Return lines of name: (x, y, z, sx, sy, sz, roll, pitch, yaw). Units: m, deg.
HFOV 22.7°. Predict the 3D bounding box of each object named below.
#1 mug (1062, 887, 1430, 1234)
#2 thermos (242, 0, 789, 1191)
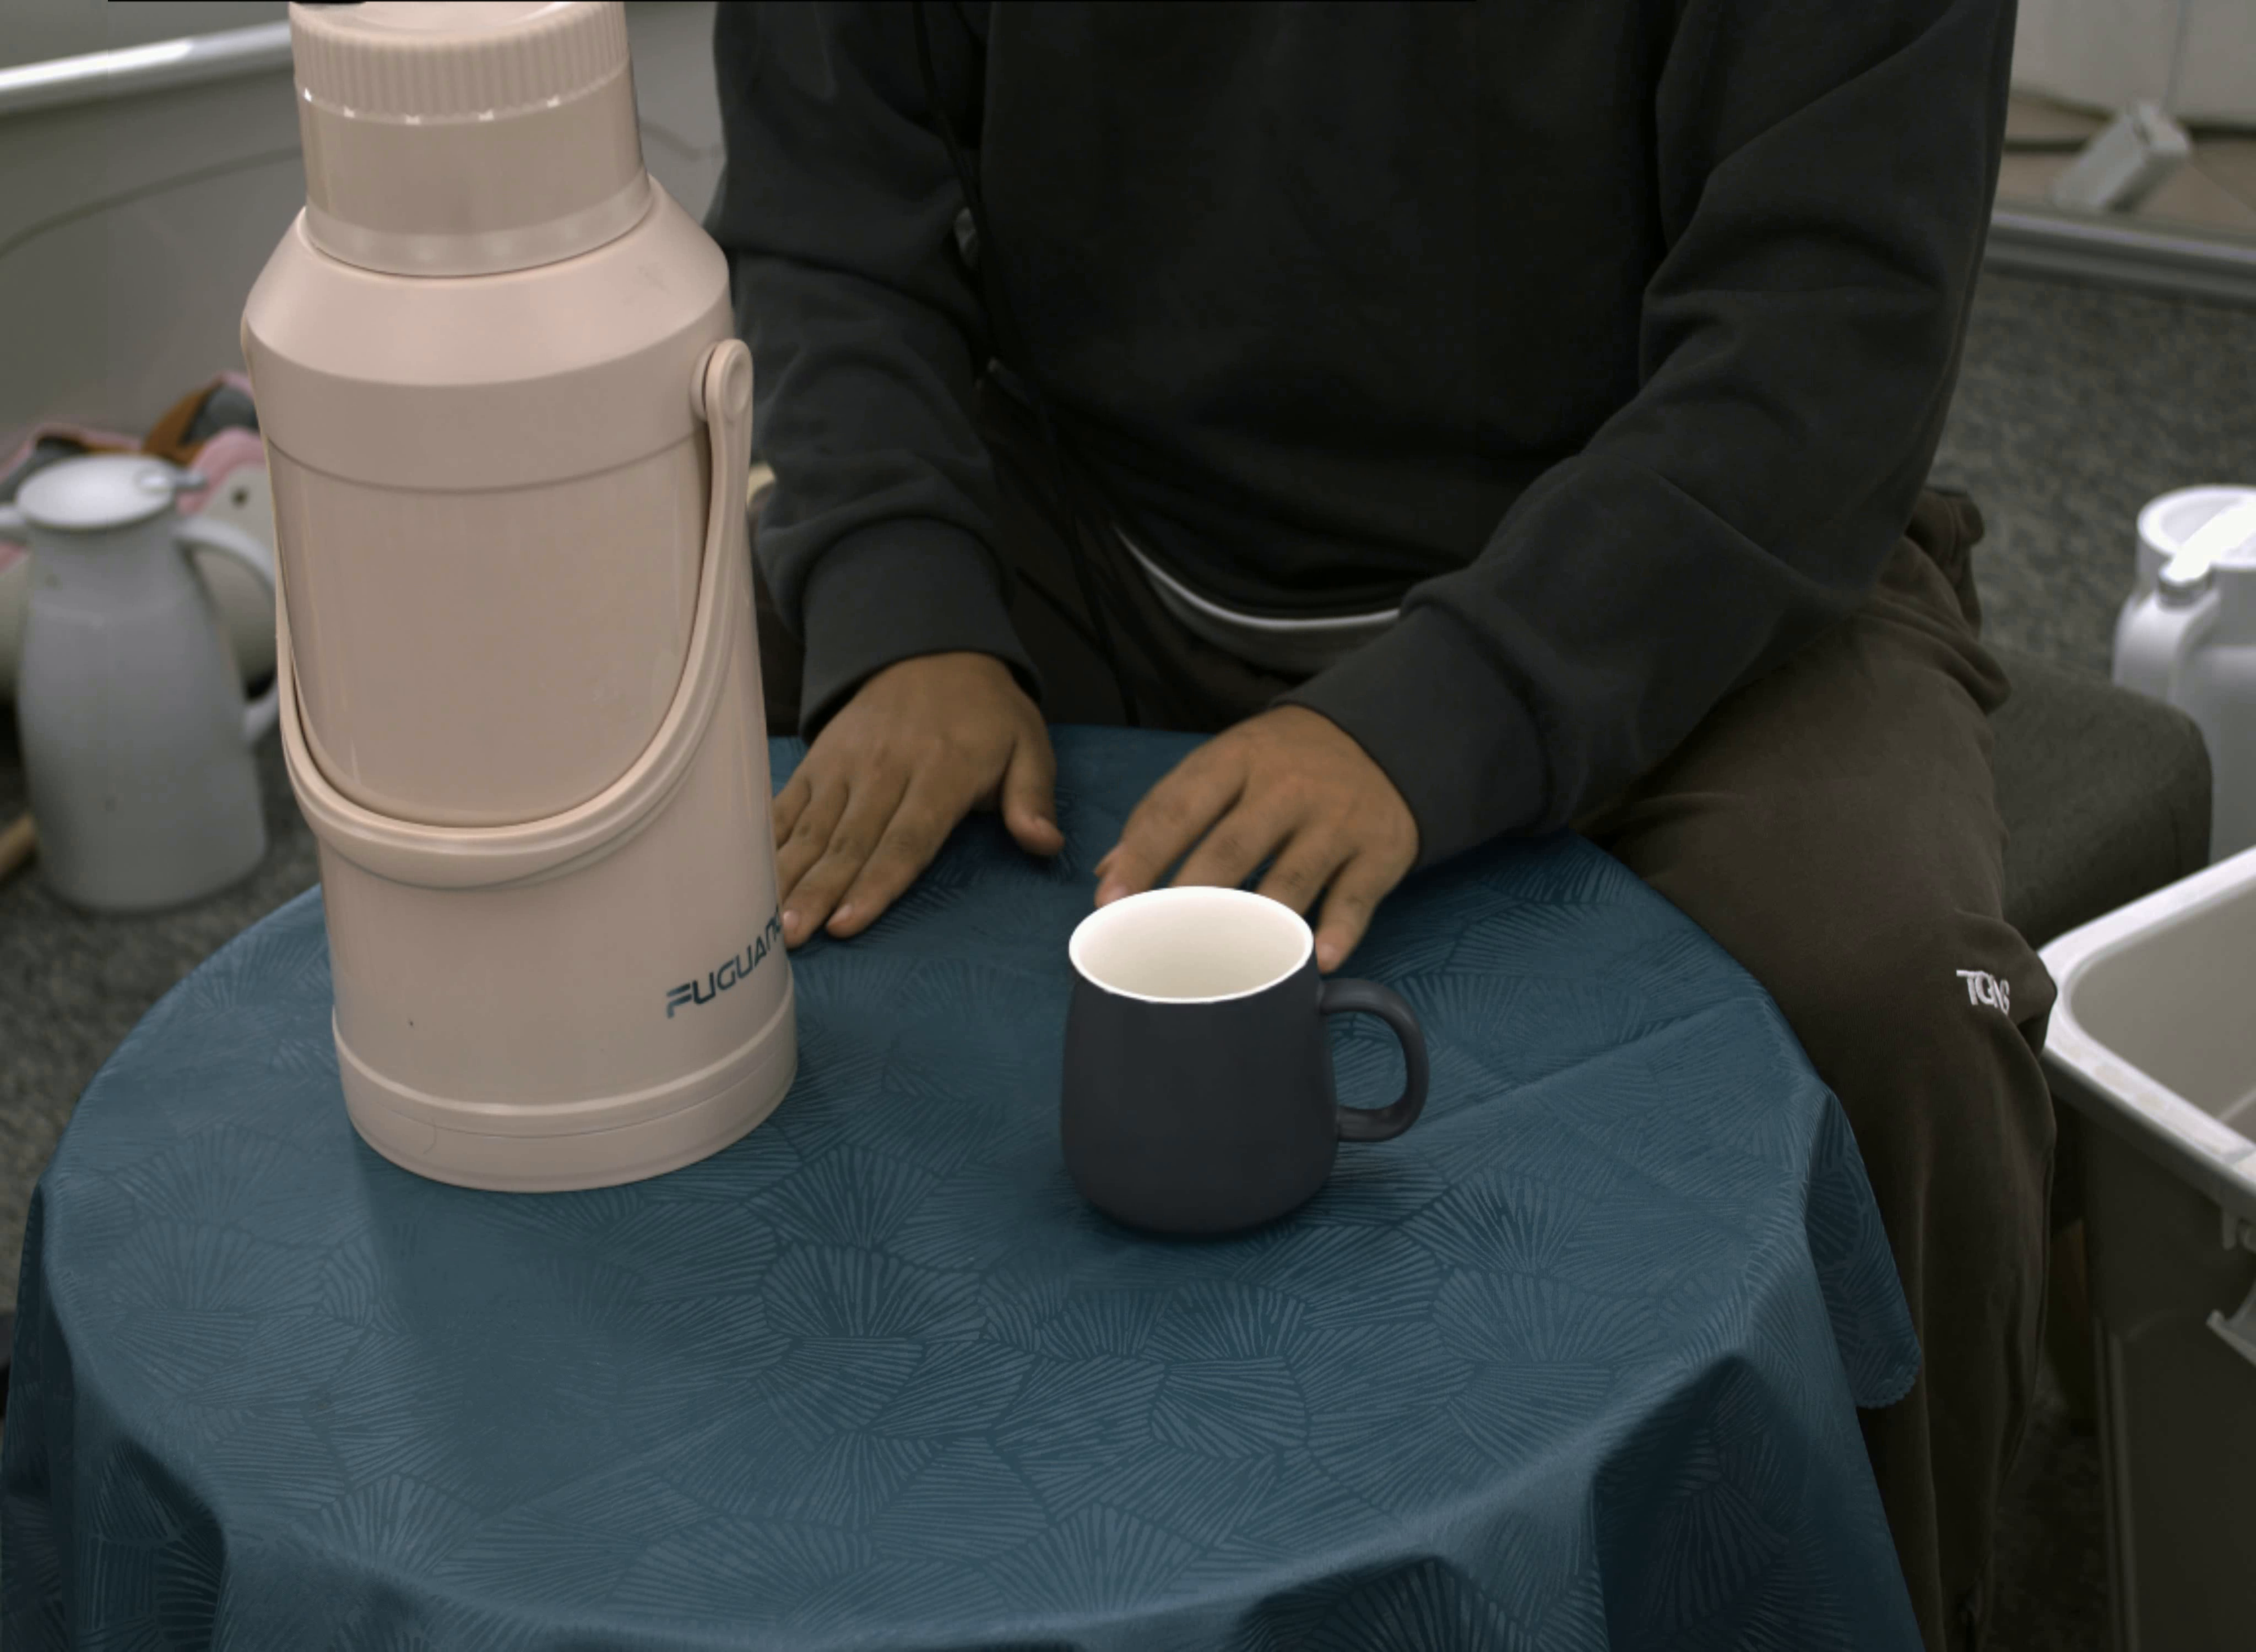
mug: (0.038, 0.078, 1.848, 0.122, 0.089, 0.095, 1, 27, 8)
thermos: (-0.197, -0.095, 1.874, 0.174, 0.402, 0.210, 7, 28, 20)
